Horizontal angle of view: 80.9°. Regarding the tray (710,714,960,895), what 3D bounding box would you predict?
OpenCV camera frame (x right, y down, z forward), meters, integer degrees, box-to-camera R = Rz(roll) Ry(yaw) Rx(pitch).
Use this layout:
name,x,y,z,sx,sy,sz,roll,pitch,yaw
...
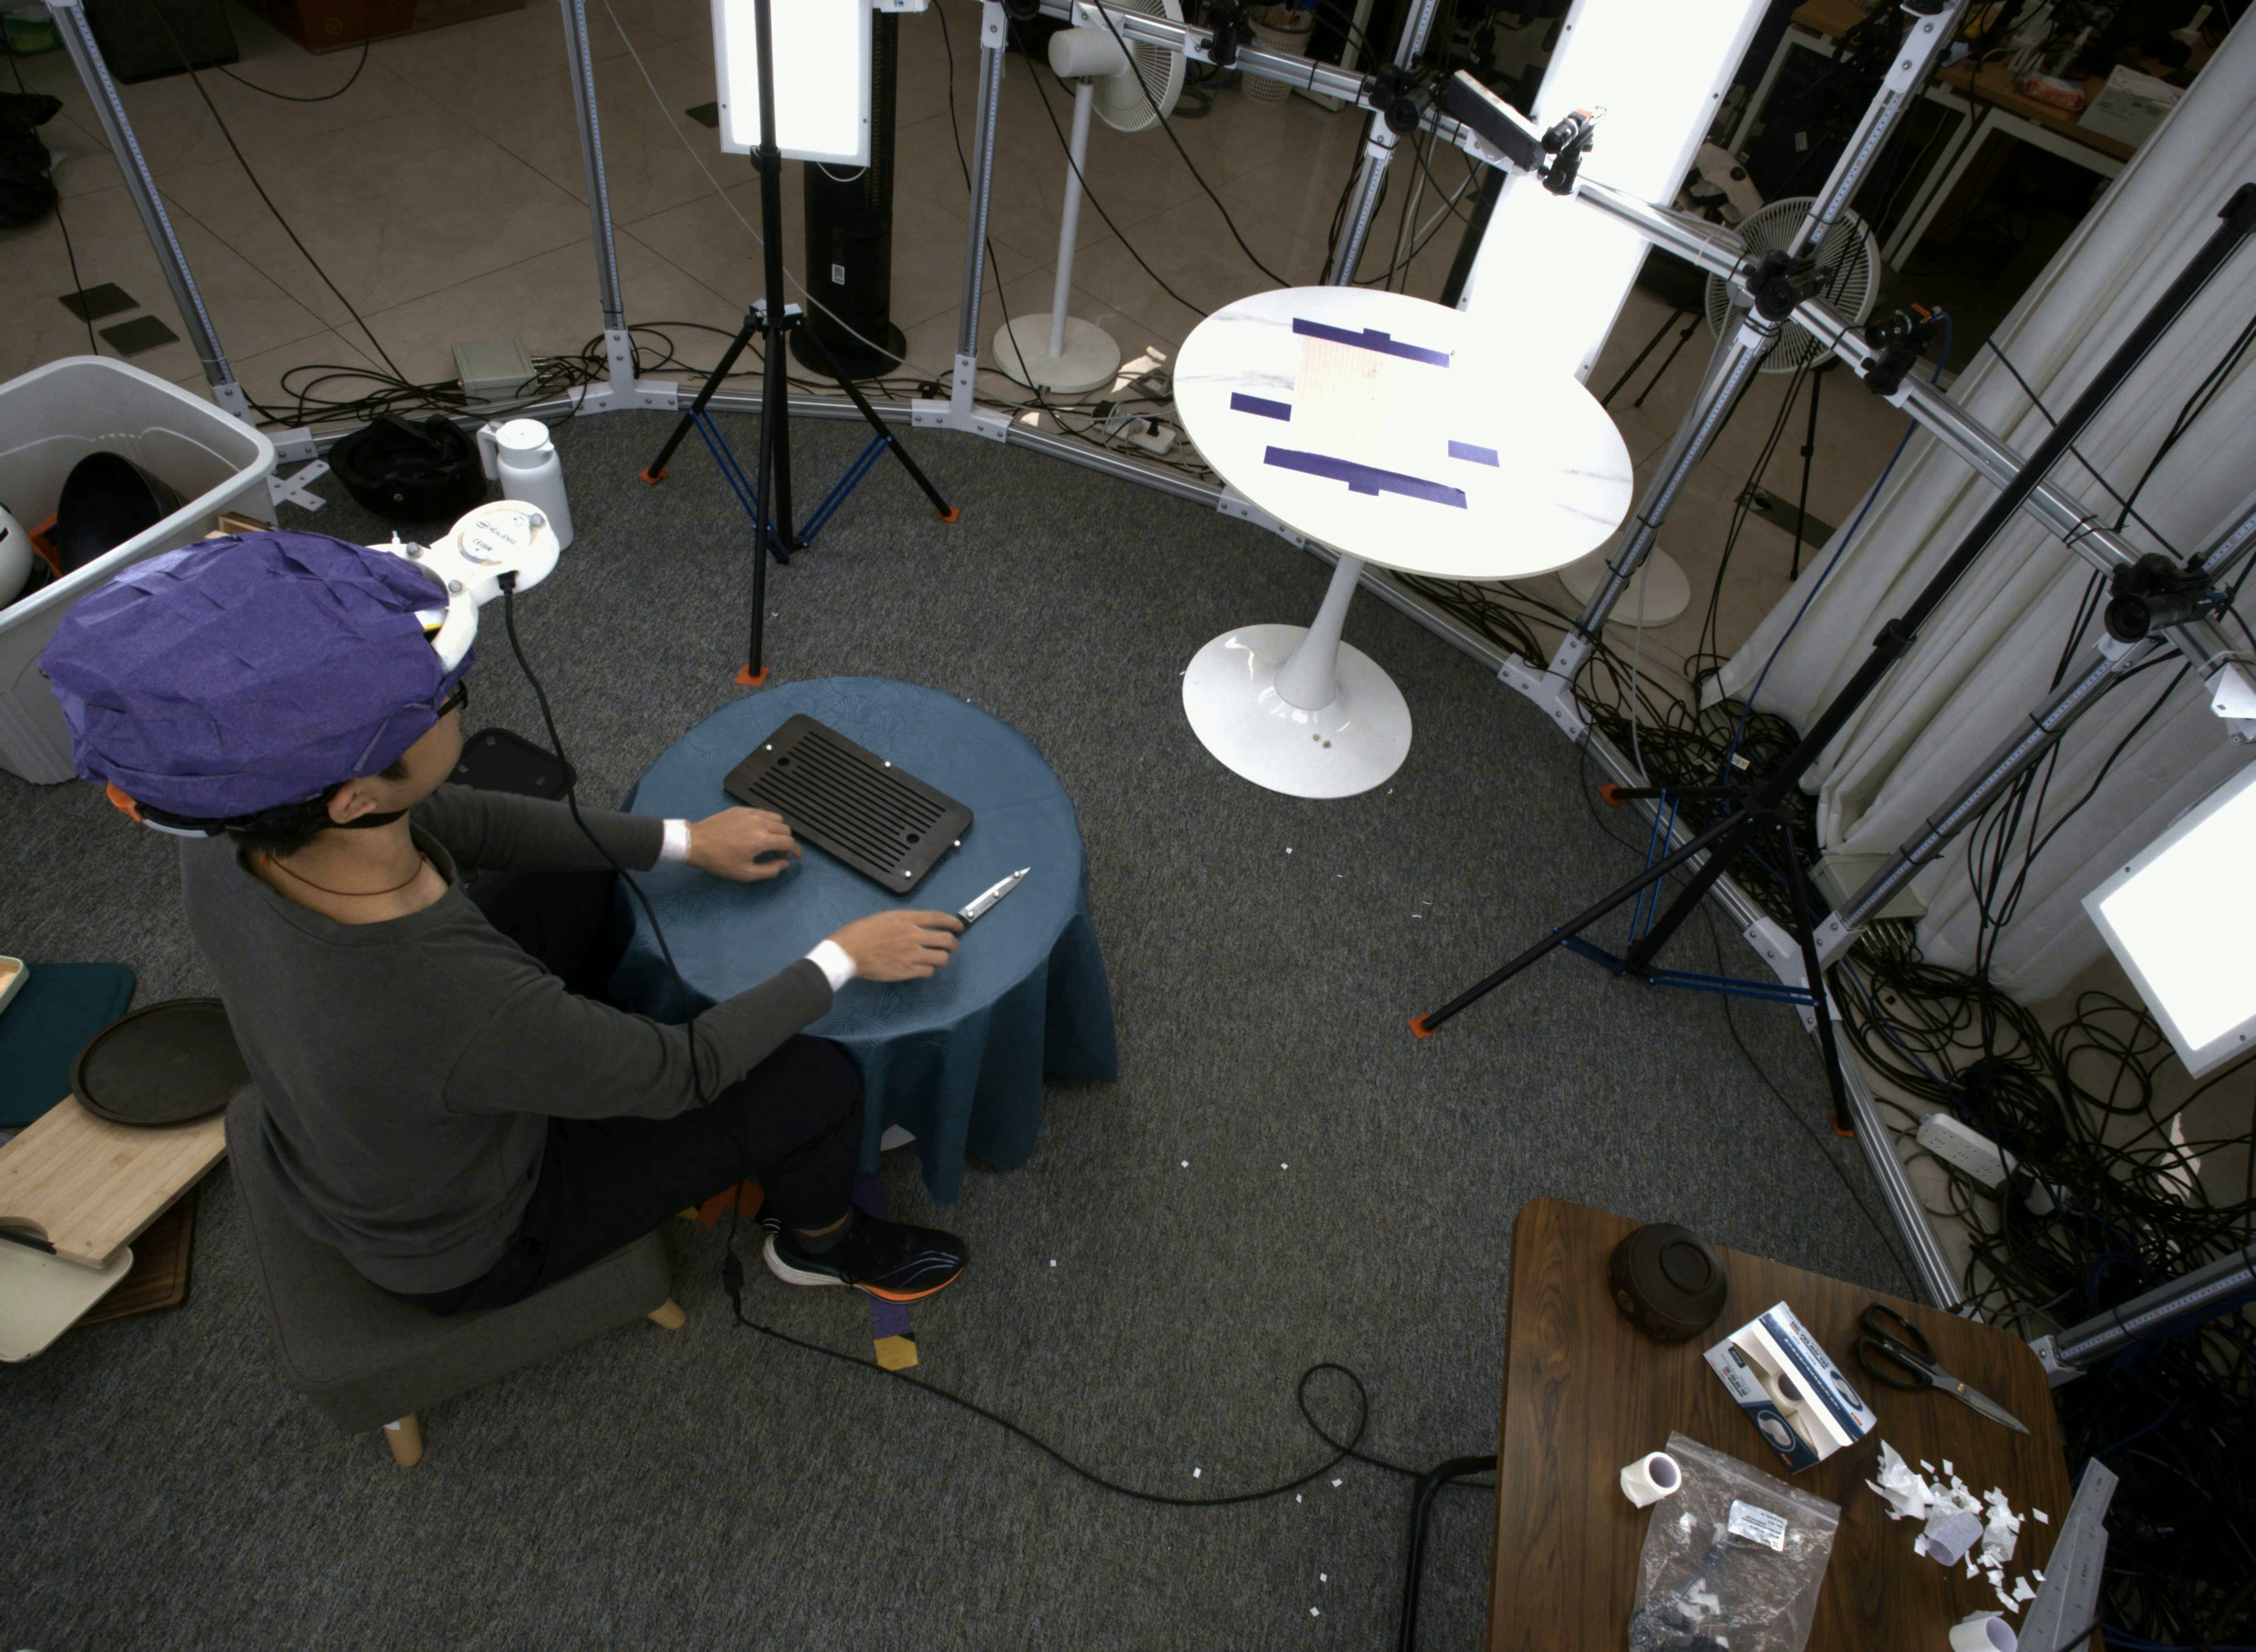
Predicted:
name,x,y,z,sx,sy,sz,roll,pitch,yaw
tray,-0.395,-0.032,1.755,0.301,0.019,0.169,29,53,8

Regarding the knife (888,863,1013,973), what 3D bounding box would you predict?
name,x,y,z,sx,sy,sz,roll,pitch,yaw
knife,-0.224,0.115,1.694,0.024,0.016,0.238,37,51,13
